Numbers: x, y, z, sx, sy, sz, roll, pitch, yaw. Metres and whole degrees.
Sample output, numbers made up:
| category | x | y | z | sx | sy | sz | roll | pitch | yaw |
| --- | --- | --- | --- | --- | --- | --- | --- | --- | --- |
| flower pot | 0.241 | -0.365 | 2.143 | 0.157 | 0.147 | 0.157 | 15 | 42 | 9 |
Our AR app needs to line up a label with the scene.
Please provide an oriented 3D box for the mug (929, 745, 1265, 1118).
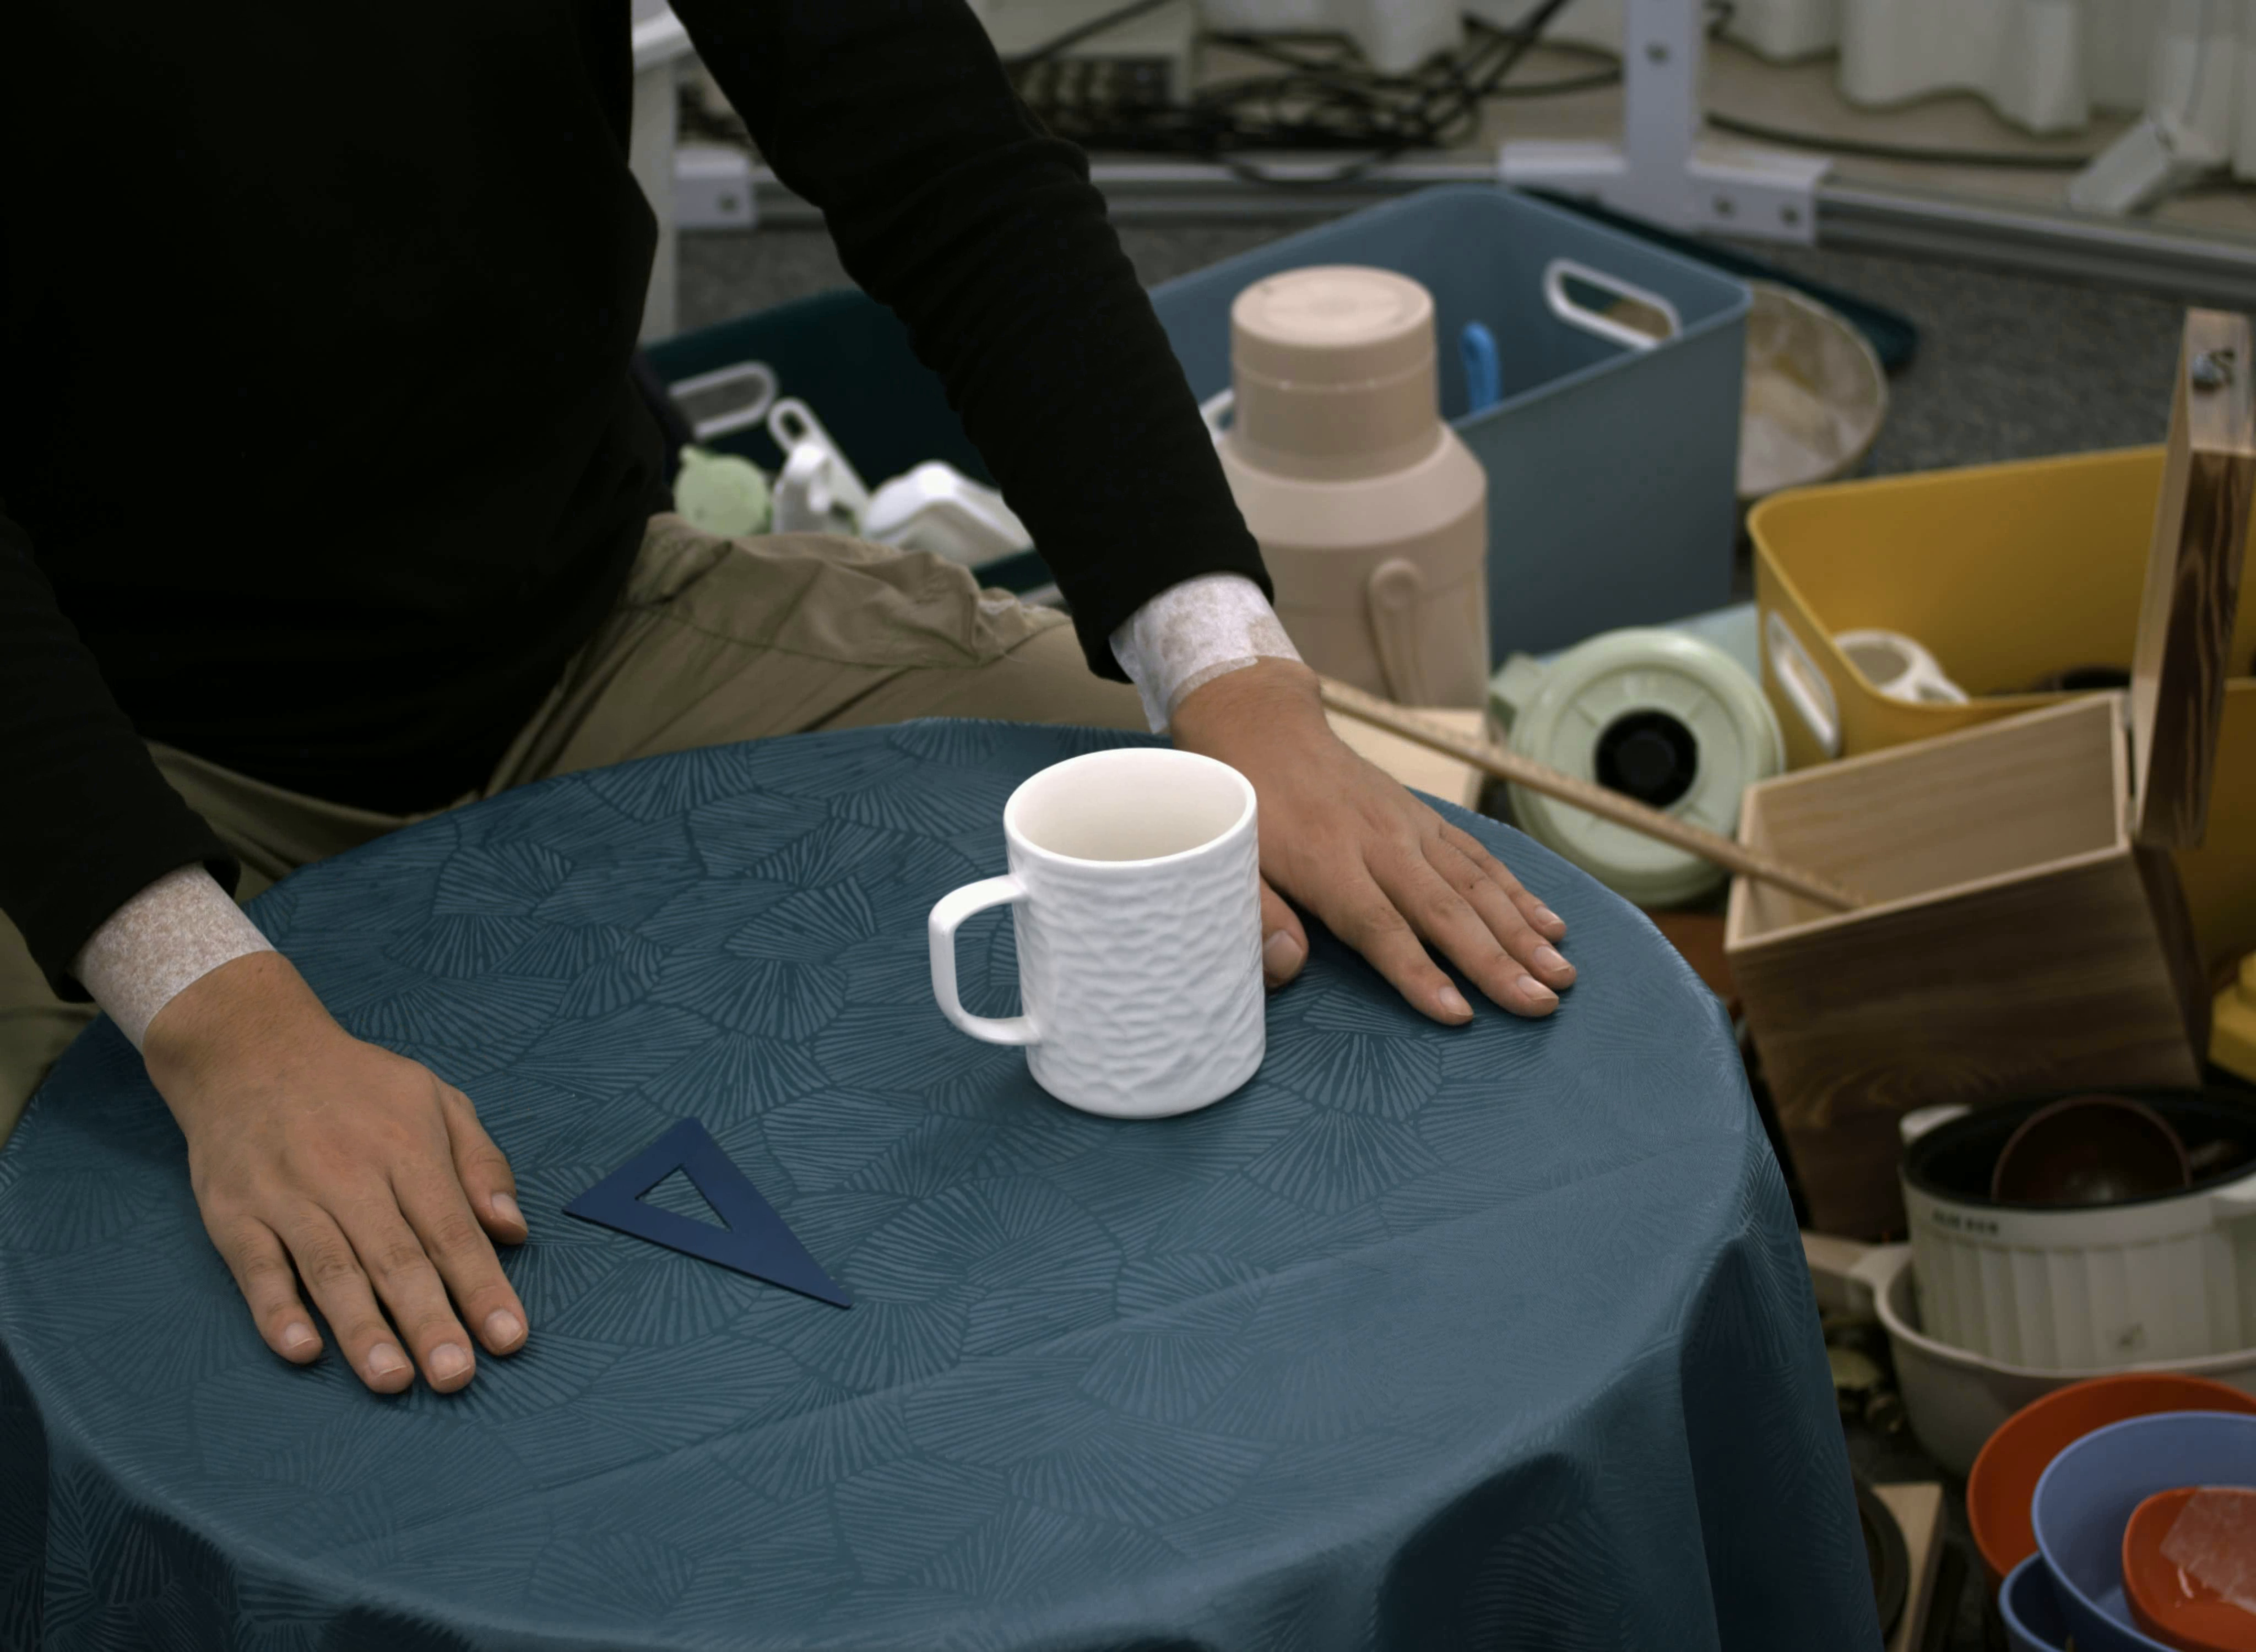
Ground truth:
| category | x | y | z | sx | sy | sz | roll | pitch | yaw |
| --- | --- | --- | --- | --- | --- | --- | --- | --- | --- |
| mug | -0.011 | 0.040 | 1.908 | 0.119 | 0.101 | 0.085 | -14 | 29 | -21 |

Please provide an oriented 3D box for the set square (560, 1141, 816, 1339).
| category | x | y | z | sx | sy | sz | roll | pitch | yaw |
| --- | --- | --- | --- | --- | --- | --- | --- | --- | --- |
| set square | -0.147 | 0.139 | 1.838 | 0.061 | 0.006 | 0.133 | -11 | 28 | -18 |
